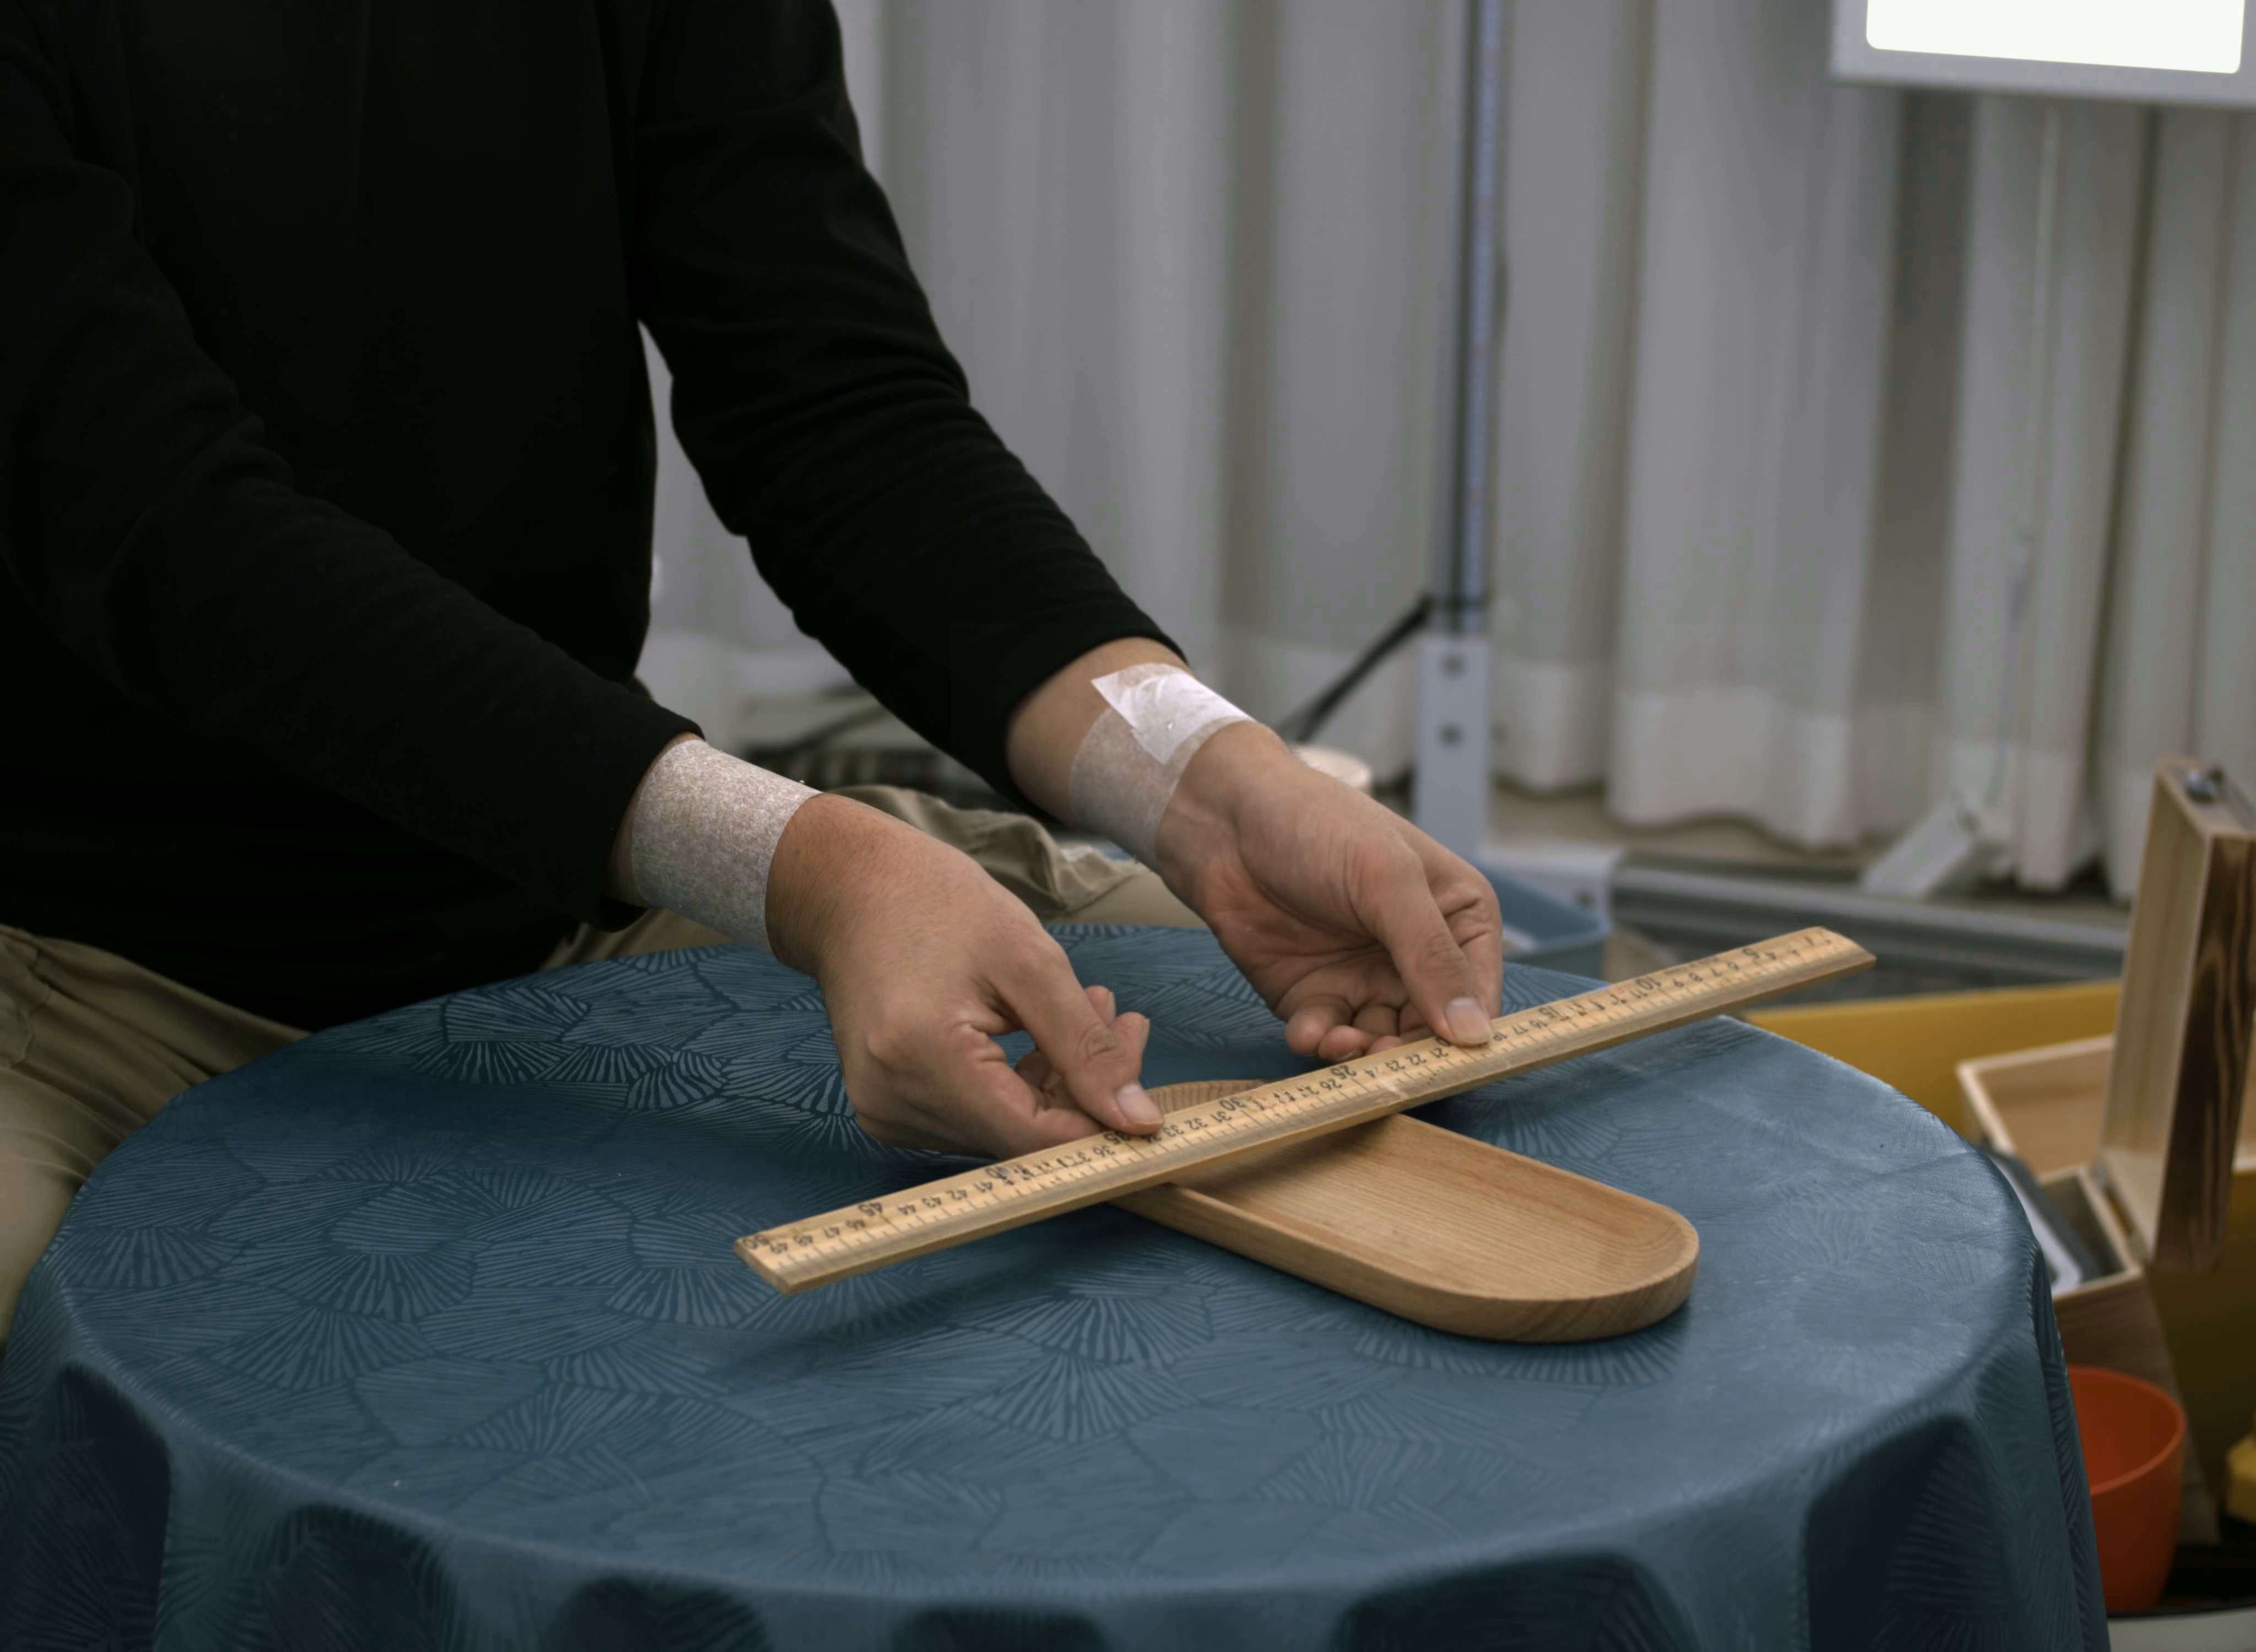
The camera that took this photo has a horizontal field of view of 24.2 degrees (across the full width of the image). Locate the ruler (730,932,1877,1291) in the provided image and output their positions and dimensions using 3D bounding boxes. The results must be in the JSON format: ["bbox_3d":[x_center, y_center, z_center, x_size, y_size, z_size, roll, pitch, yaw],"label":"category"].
[{"bbox_3d":[0.072,0.083,1.647,0.503,0.006,0.026,-13,36,-44],"label":"ruler"}]

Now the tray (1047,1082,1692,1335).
[{"bbox_3d":[0.070,0.114,1.587,0.102,0.020,0.228,-13,18,-42],"label":"tray"}]
